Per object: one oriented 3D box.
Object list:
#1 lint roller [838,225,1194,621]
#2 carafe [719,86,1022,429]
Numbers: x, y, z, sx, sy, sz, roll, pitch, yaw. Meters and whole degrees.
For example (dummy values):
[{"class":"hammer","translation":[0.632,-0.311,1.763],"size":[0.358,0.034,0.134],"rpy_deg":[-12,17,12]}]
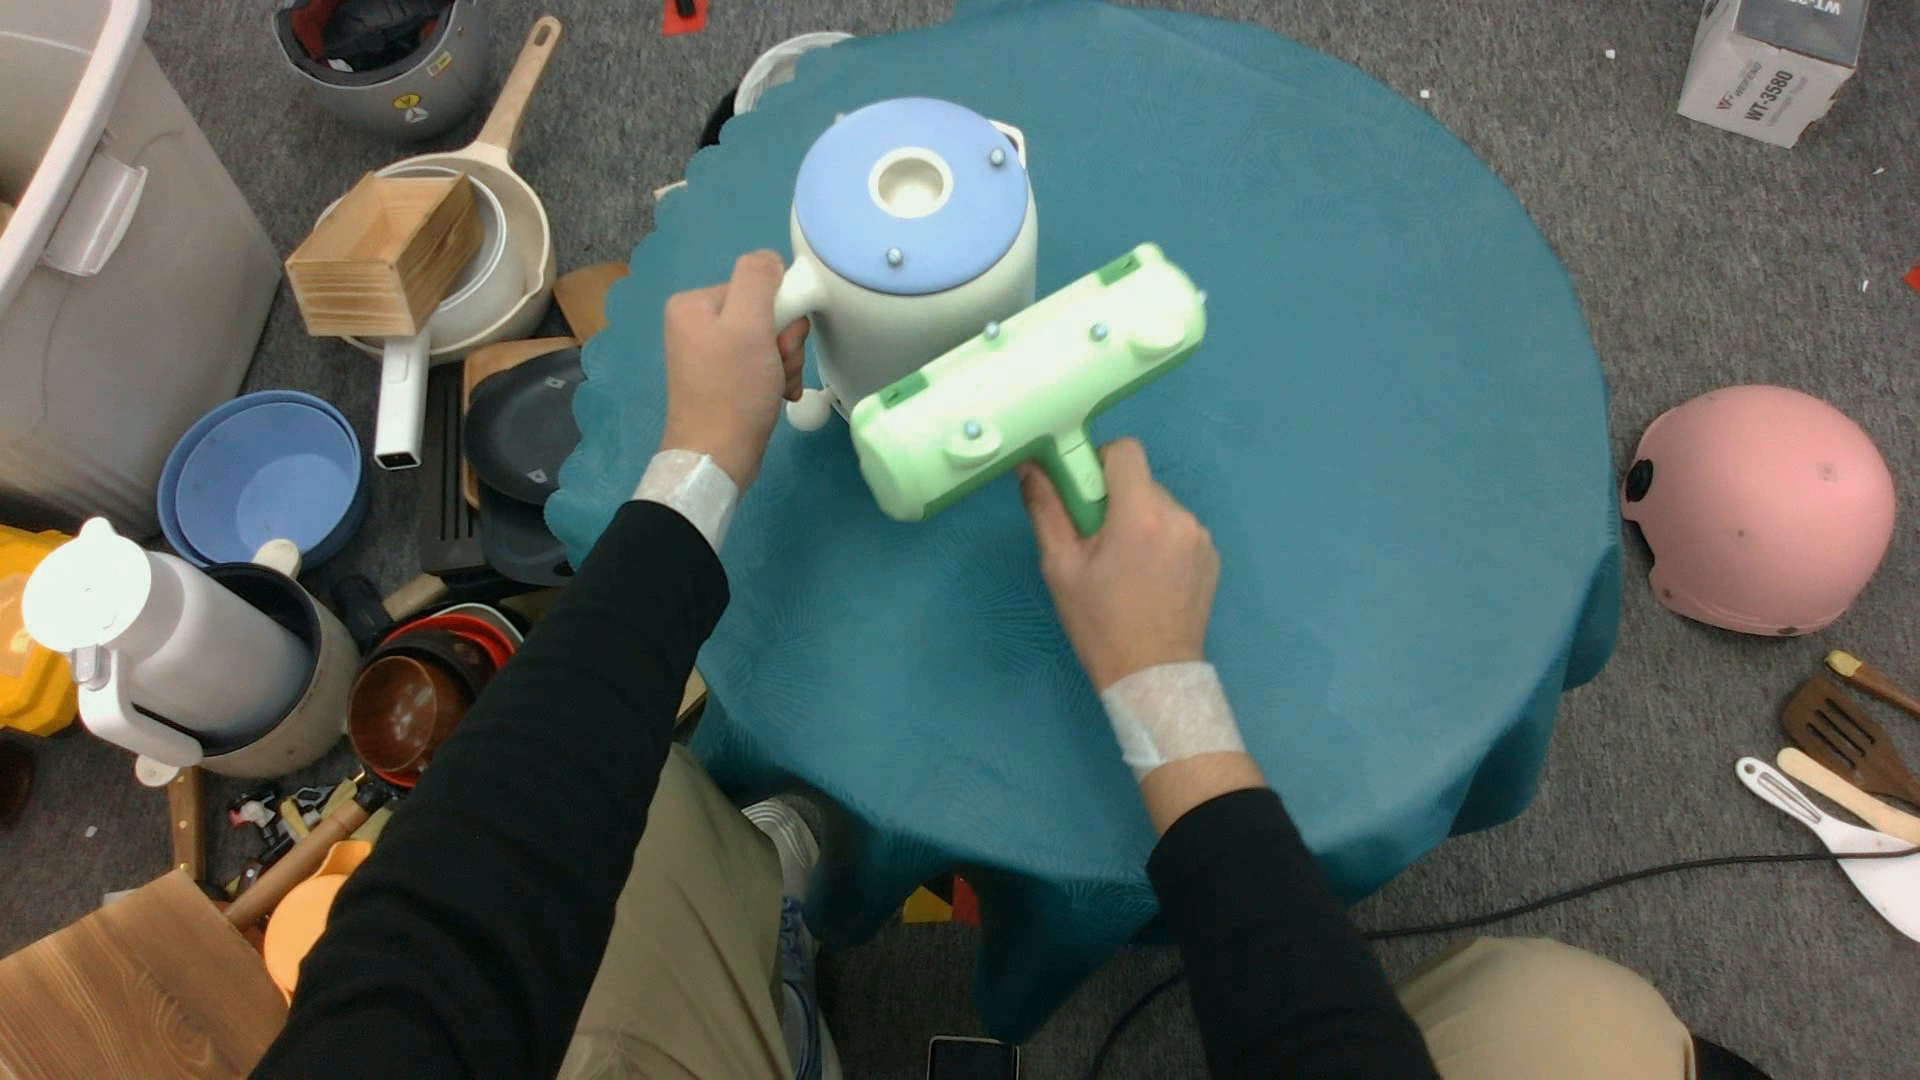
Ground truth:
[{"class":"lint roller","translation":[0.060,-0.038,0.692],"size":[0.199,0.082,0.183],"rpy_deg":[-33,100,-20]},{"class":"carafe","translation":[-0.051,-0.135,0.764],"size":[0.191,0.182,0.132],"rpy_deg":[-36,71,-11]}]
